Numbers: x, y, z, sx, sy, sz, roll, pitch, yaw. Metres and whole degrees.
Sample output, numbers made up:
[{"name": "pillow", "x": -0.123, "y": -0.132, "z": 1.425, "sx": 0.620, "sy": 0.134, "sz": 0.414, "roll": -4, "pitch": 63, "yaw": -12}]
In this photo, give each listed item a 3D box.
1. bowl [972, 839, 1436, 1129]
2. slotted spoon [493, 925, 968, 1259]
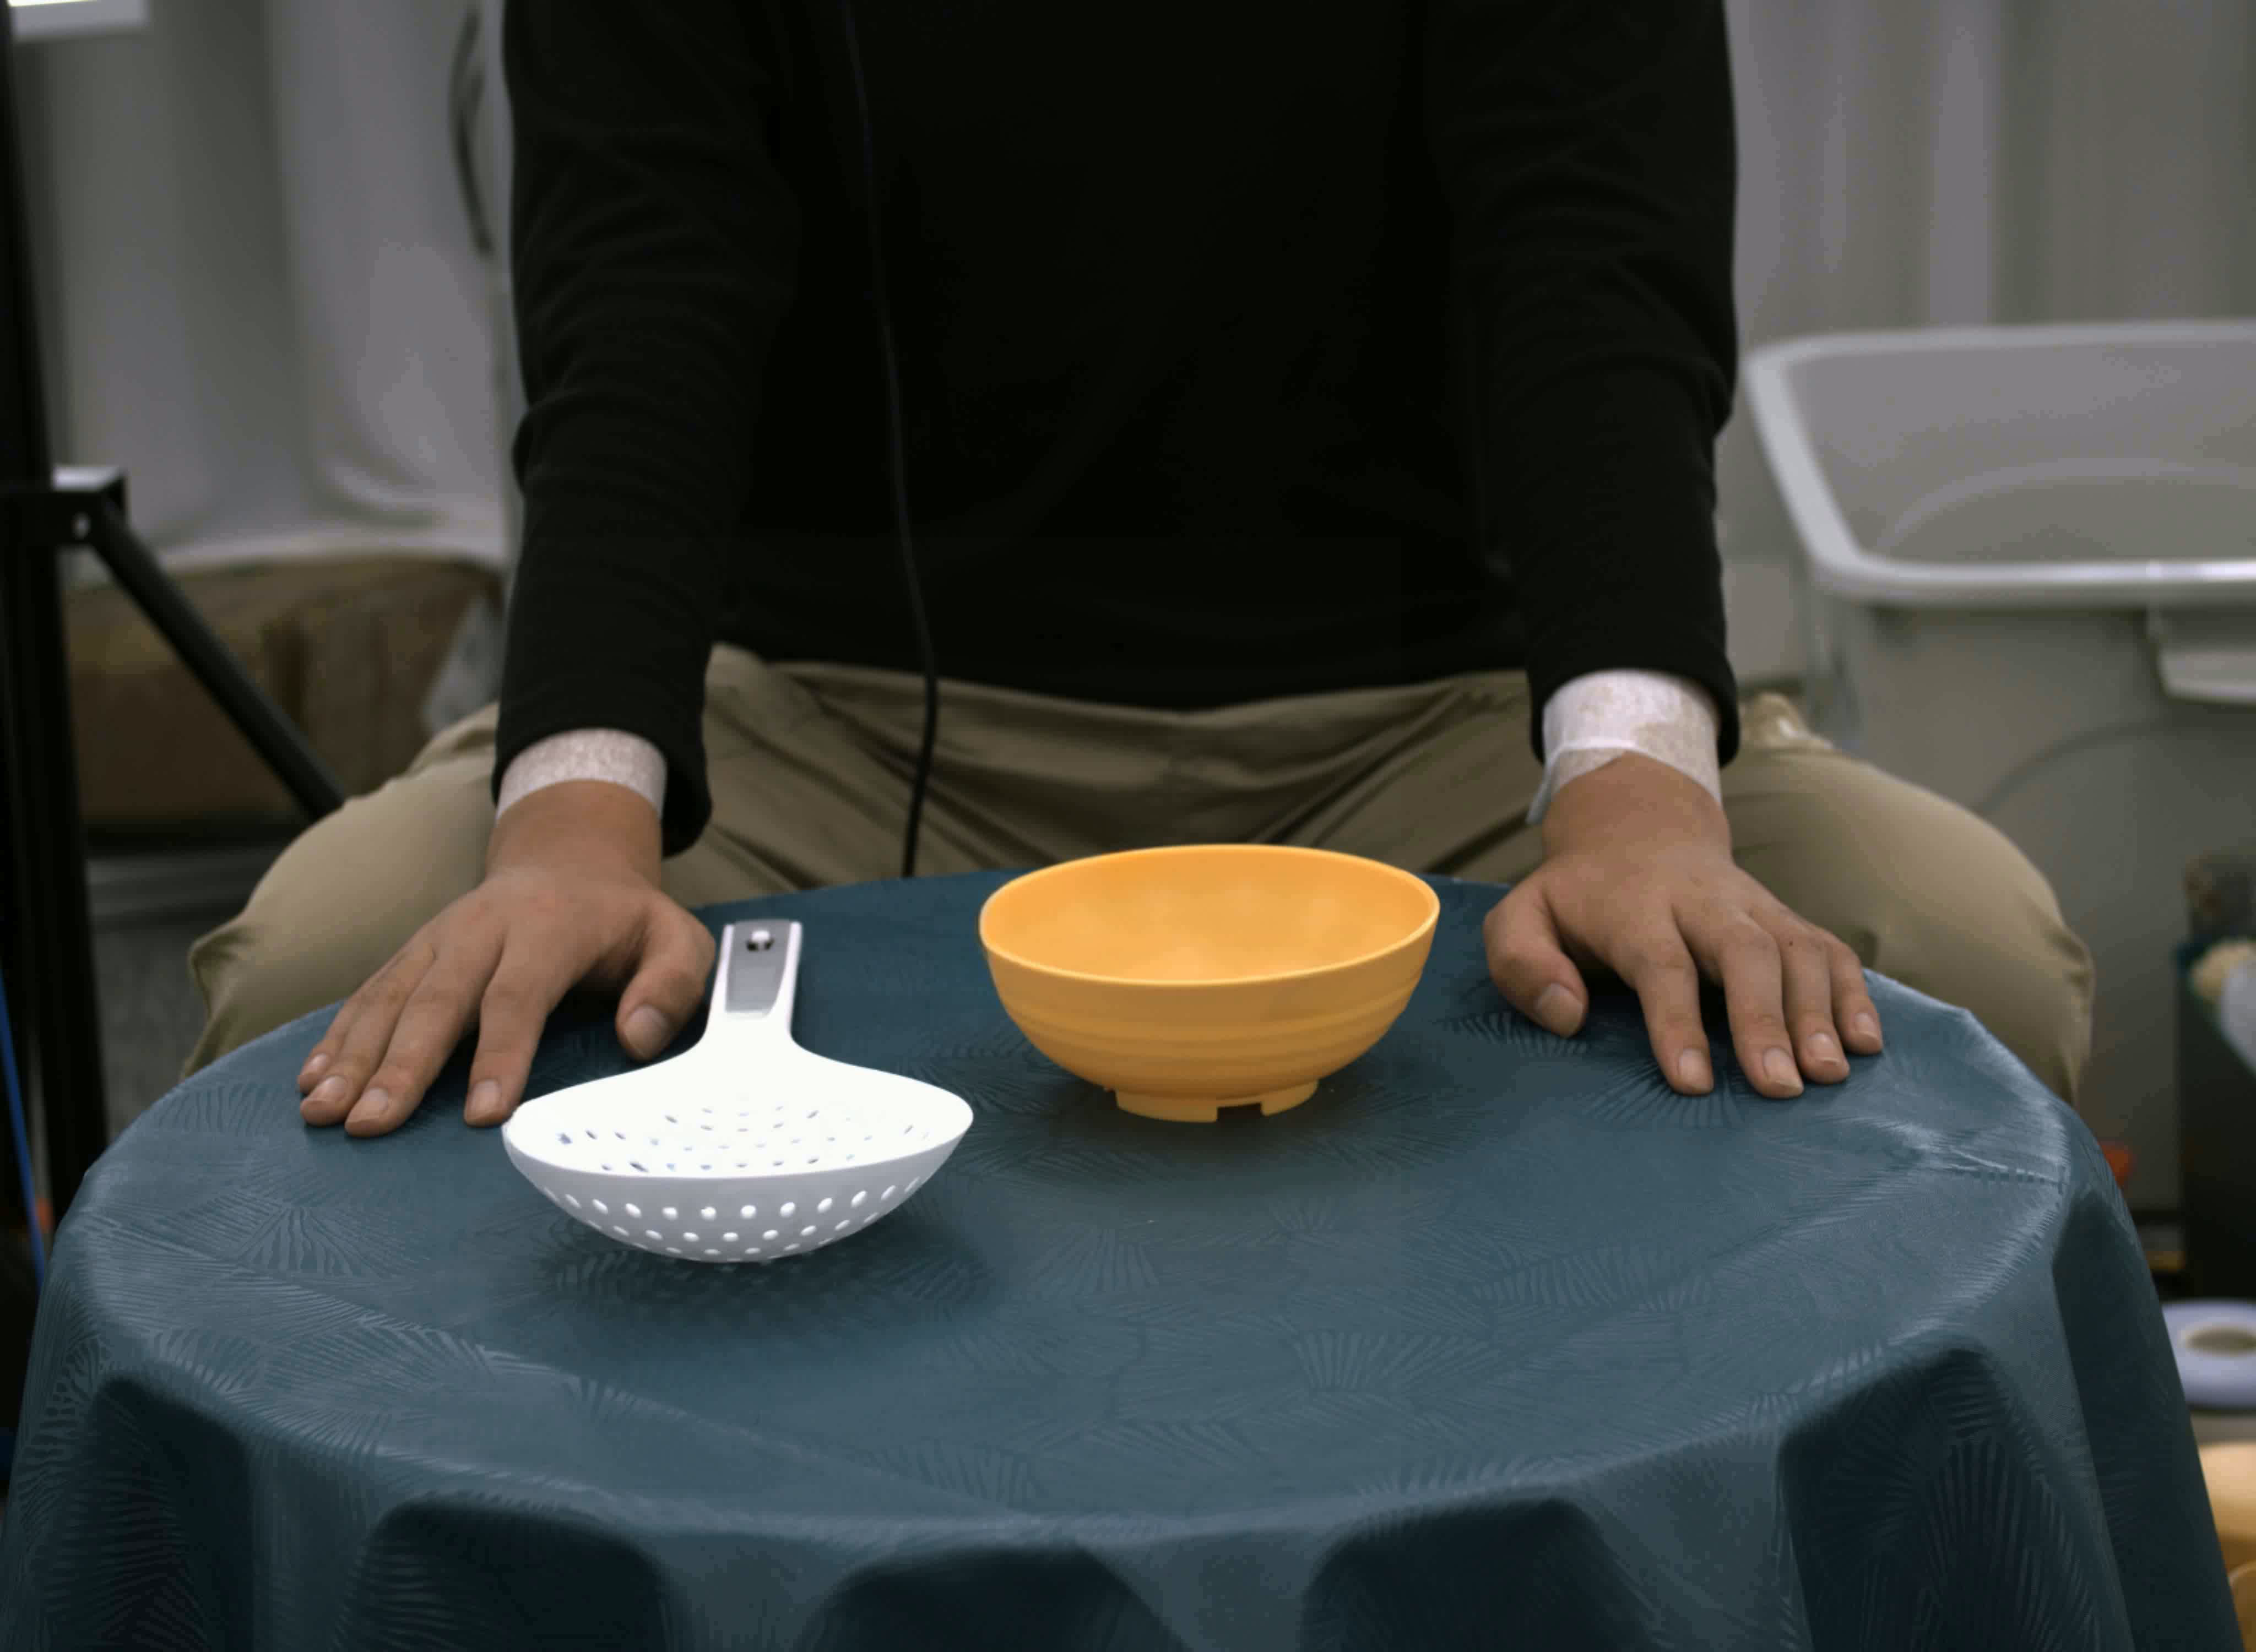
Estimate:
[{"name": "bowl", "x": 0.024, "y": 0.055, "z": 1.641, "sx": 0.144, "sy": 0.060, "sz": 0.146, "roll": -2, "pitch": 18, "yaw": -1}, {"name": "slotted spoon", "x": -0.117, "y": 0.071, "z": 1.623, "sx": 0.135, "sy": 0.046, "sz": 0.351, "roll": -2, "pitch": 15, "yaw": -2}]
